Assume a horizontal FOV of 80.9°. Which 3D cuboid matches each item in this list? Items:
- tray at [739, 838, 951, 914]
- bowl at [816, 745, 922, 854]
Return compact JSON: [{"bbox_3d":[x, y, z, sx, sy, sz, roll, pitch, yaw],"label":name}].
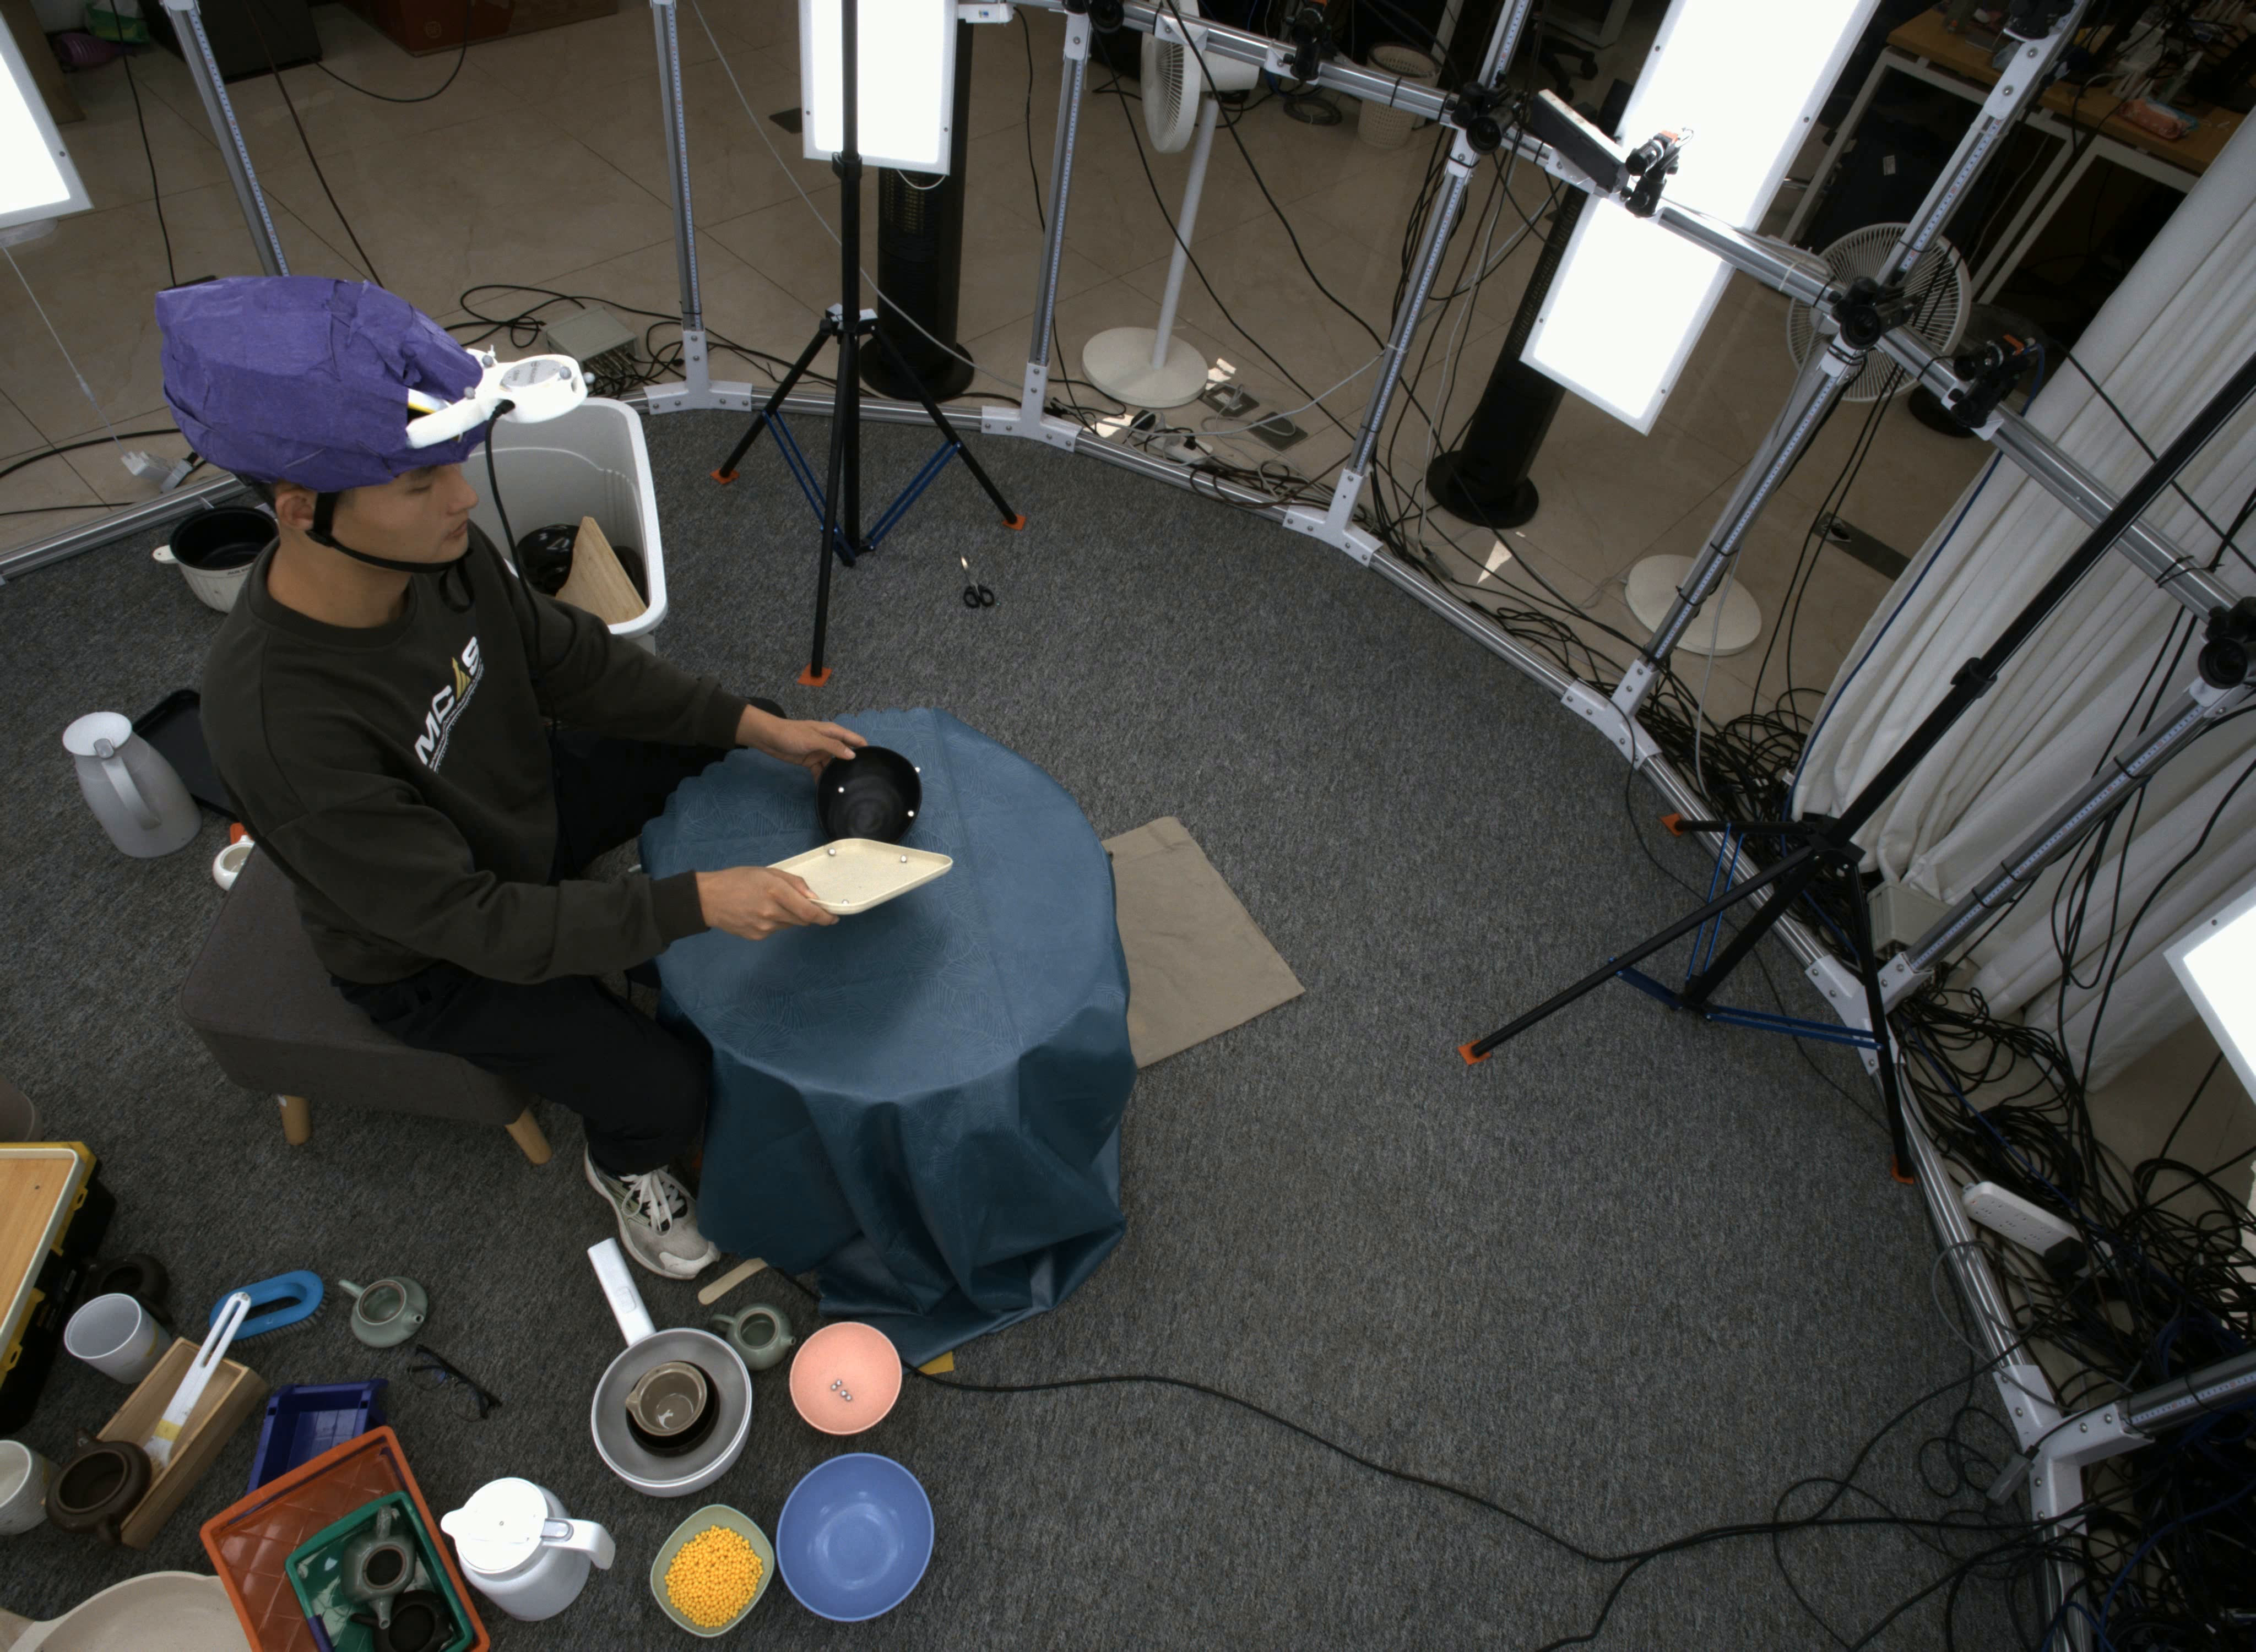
[{"bbox_3d":[-0.335,0.058,1.558,0.166,0.018,0.241,11,16,21],"label":"tray"},{"bbox_3d":[-0.344,-0.022,1.727,0.137,0.068,0.168,8,61,-6],"label":"bowl"}]
